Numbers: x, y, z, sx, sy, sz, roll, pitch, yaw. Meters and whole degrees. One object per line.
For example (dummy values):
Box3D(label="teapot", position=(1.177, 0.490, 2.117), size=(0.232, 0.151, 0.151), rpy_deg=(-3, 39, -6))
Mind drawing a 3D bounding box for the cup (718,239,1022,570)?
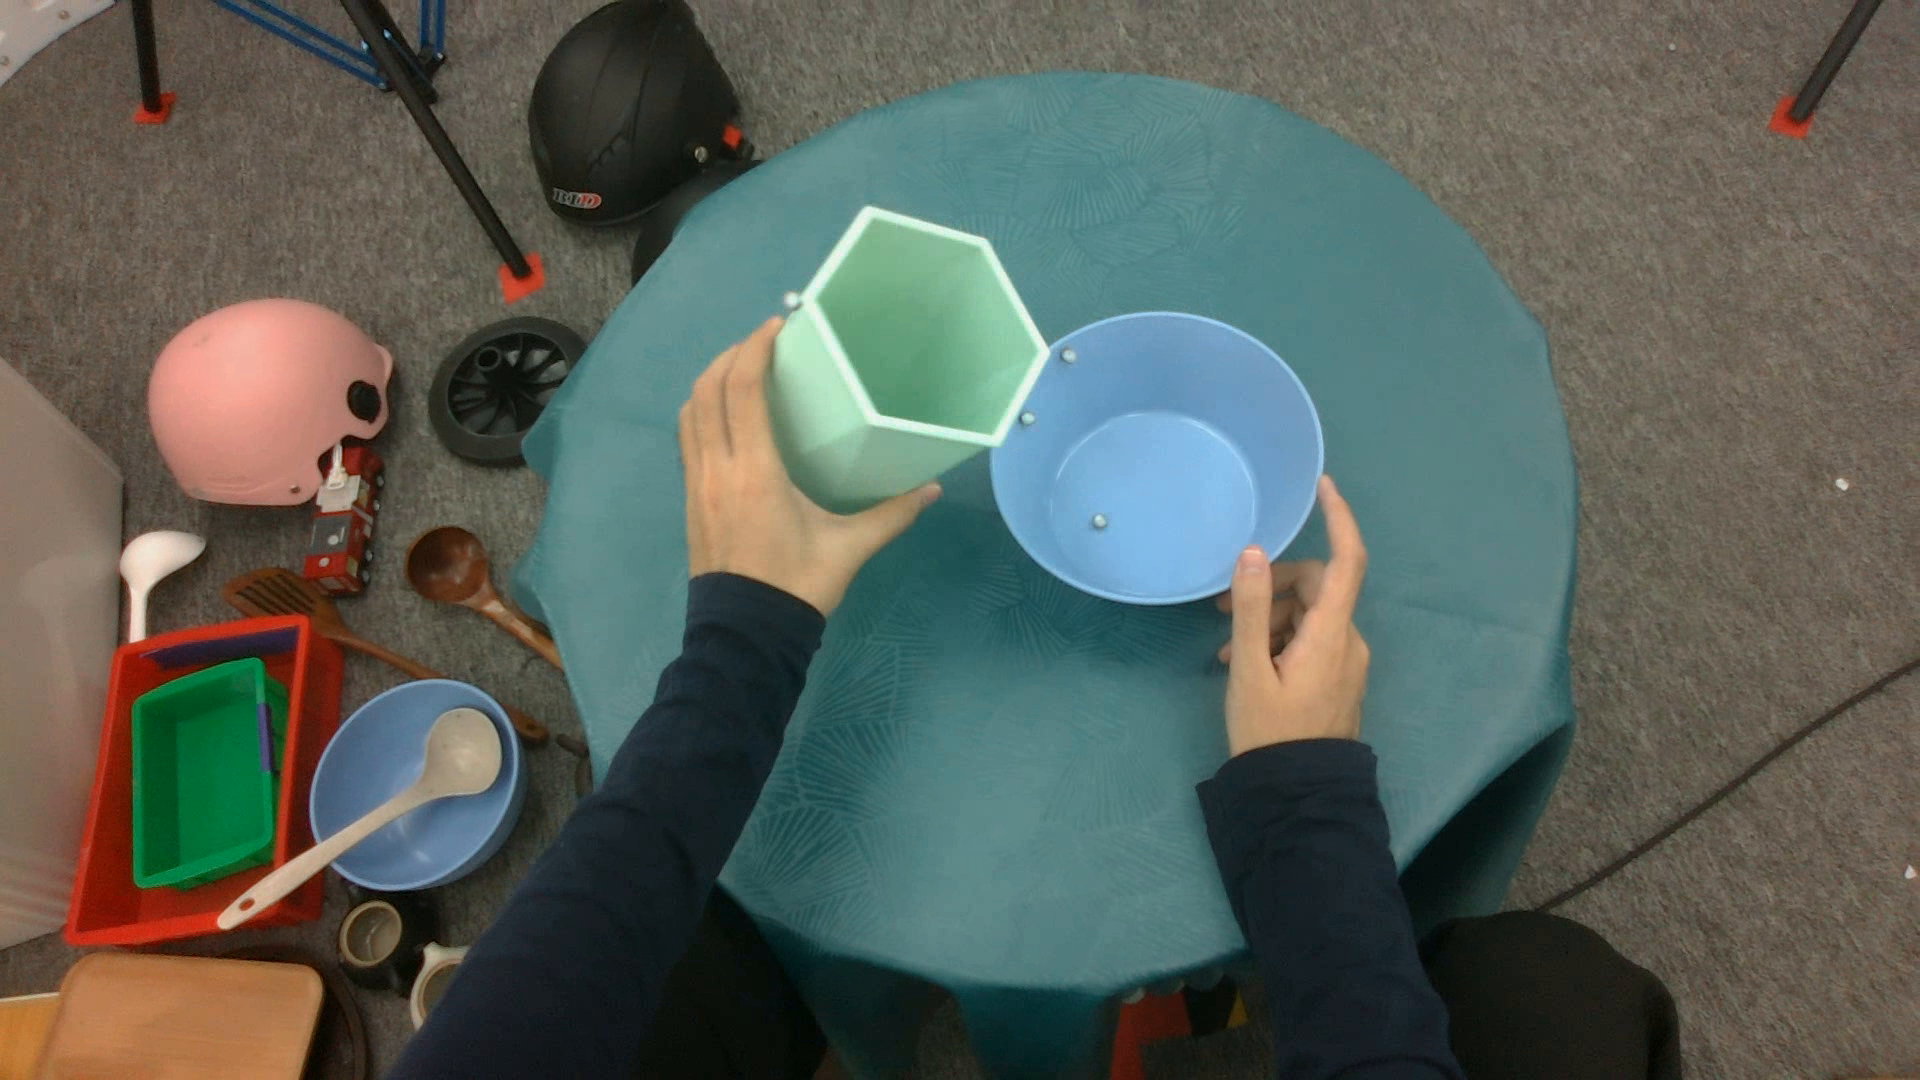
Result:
Box3D(label="cup", position=(-0.061, -0.061, 0.722), size=(0.131, 0.162, 0.115), rpy_deg=(5, 66, -25))

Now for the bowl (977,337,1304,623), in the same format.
Box3D(label="bowl", position=(0.100, -0.023, 0.771), size=(0.176, 0.070, 0.176), rpy_deg=(-3, 63, 6))
